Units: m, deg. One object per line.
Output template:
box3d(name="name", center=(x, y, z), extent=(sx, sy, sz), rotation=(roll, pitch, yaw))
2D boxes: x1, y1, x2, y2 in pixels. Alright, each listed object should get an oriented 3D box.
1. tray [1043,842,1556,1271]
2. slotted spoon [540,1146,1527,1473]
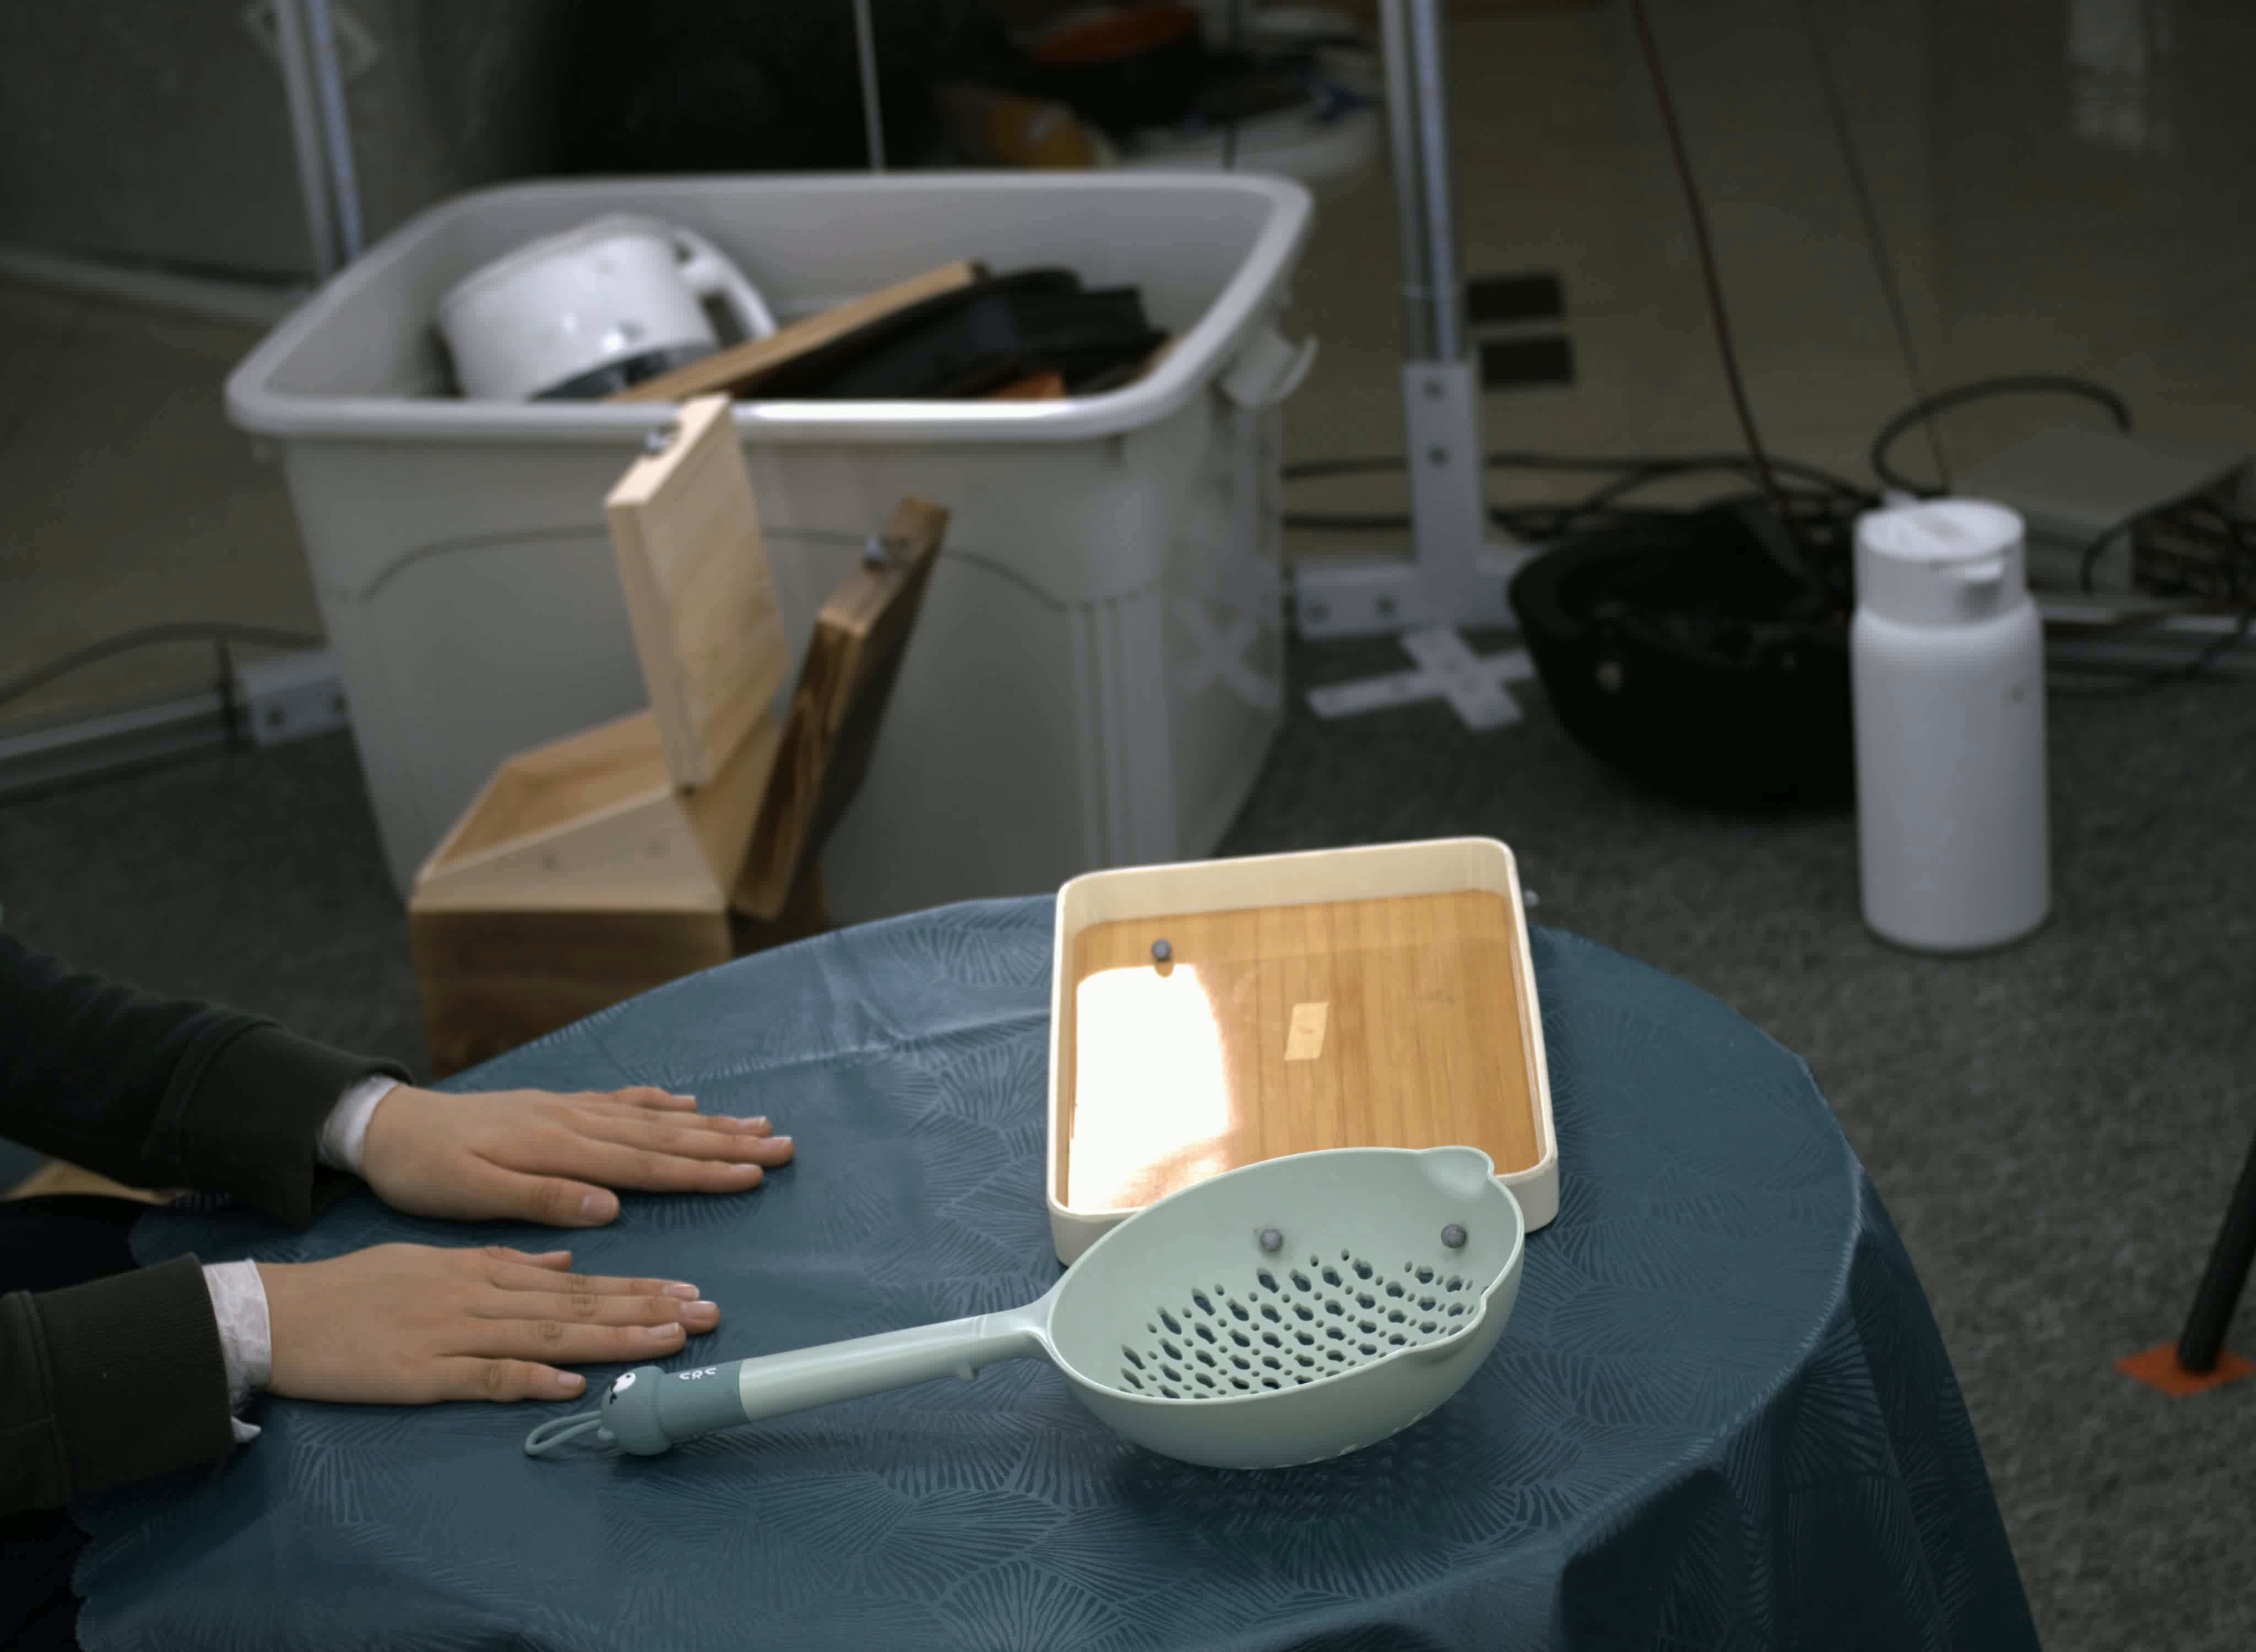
box3d(name="tray", center=(0.065, 0.086, 2.219), extent=(0.191, 0.028, 0.296), rotation=(-5, 24, 3))
box3d(name="slotted spoon", center=(-0.037, 0.183, 1.990), extent=(0.358, 0.076, 0.167), rotation=(-3, 25, 7))
